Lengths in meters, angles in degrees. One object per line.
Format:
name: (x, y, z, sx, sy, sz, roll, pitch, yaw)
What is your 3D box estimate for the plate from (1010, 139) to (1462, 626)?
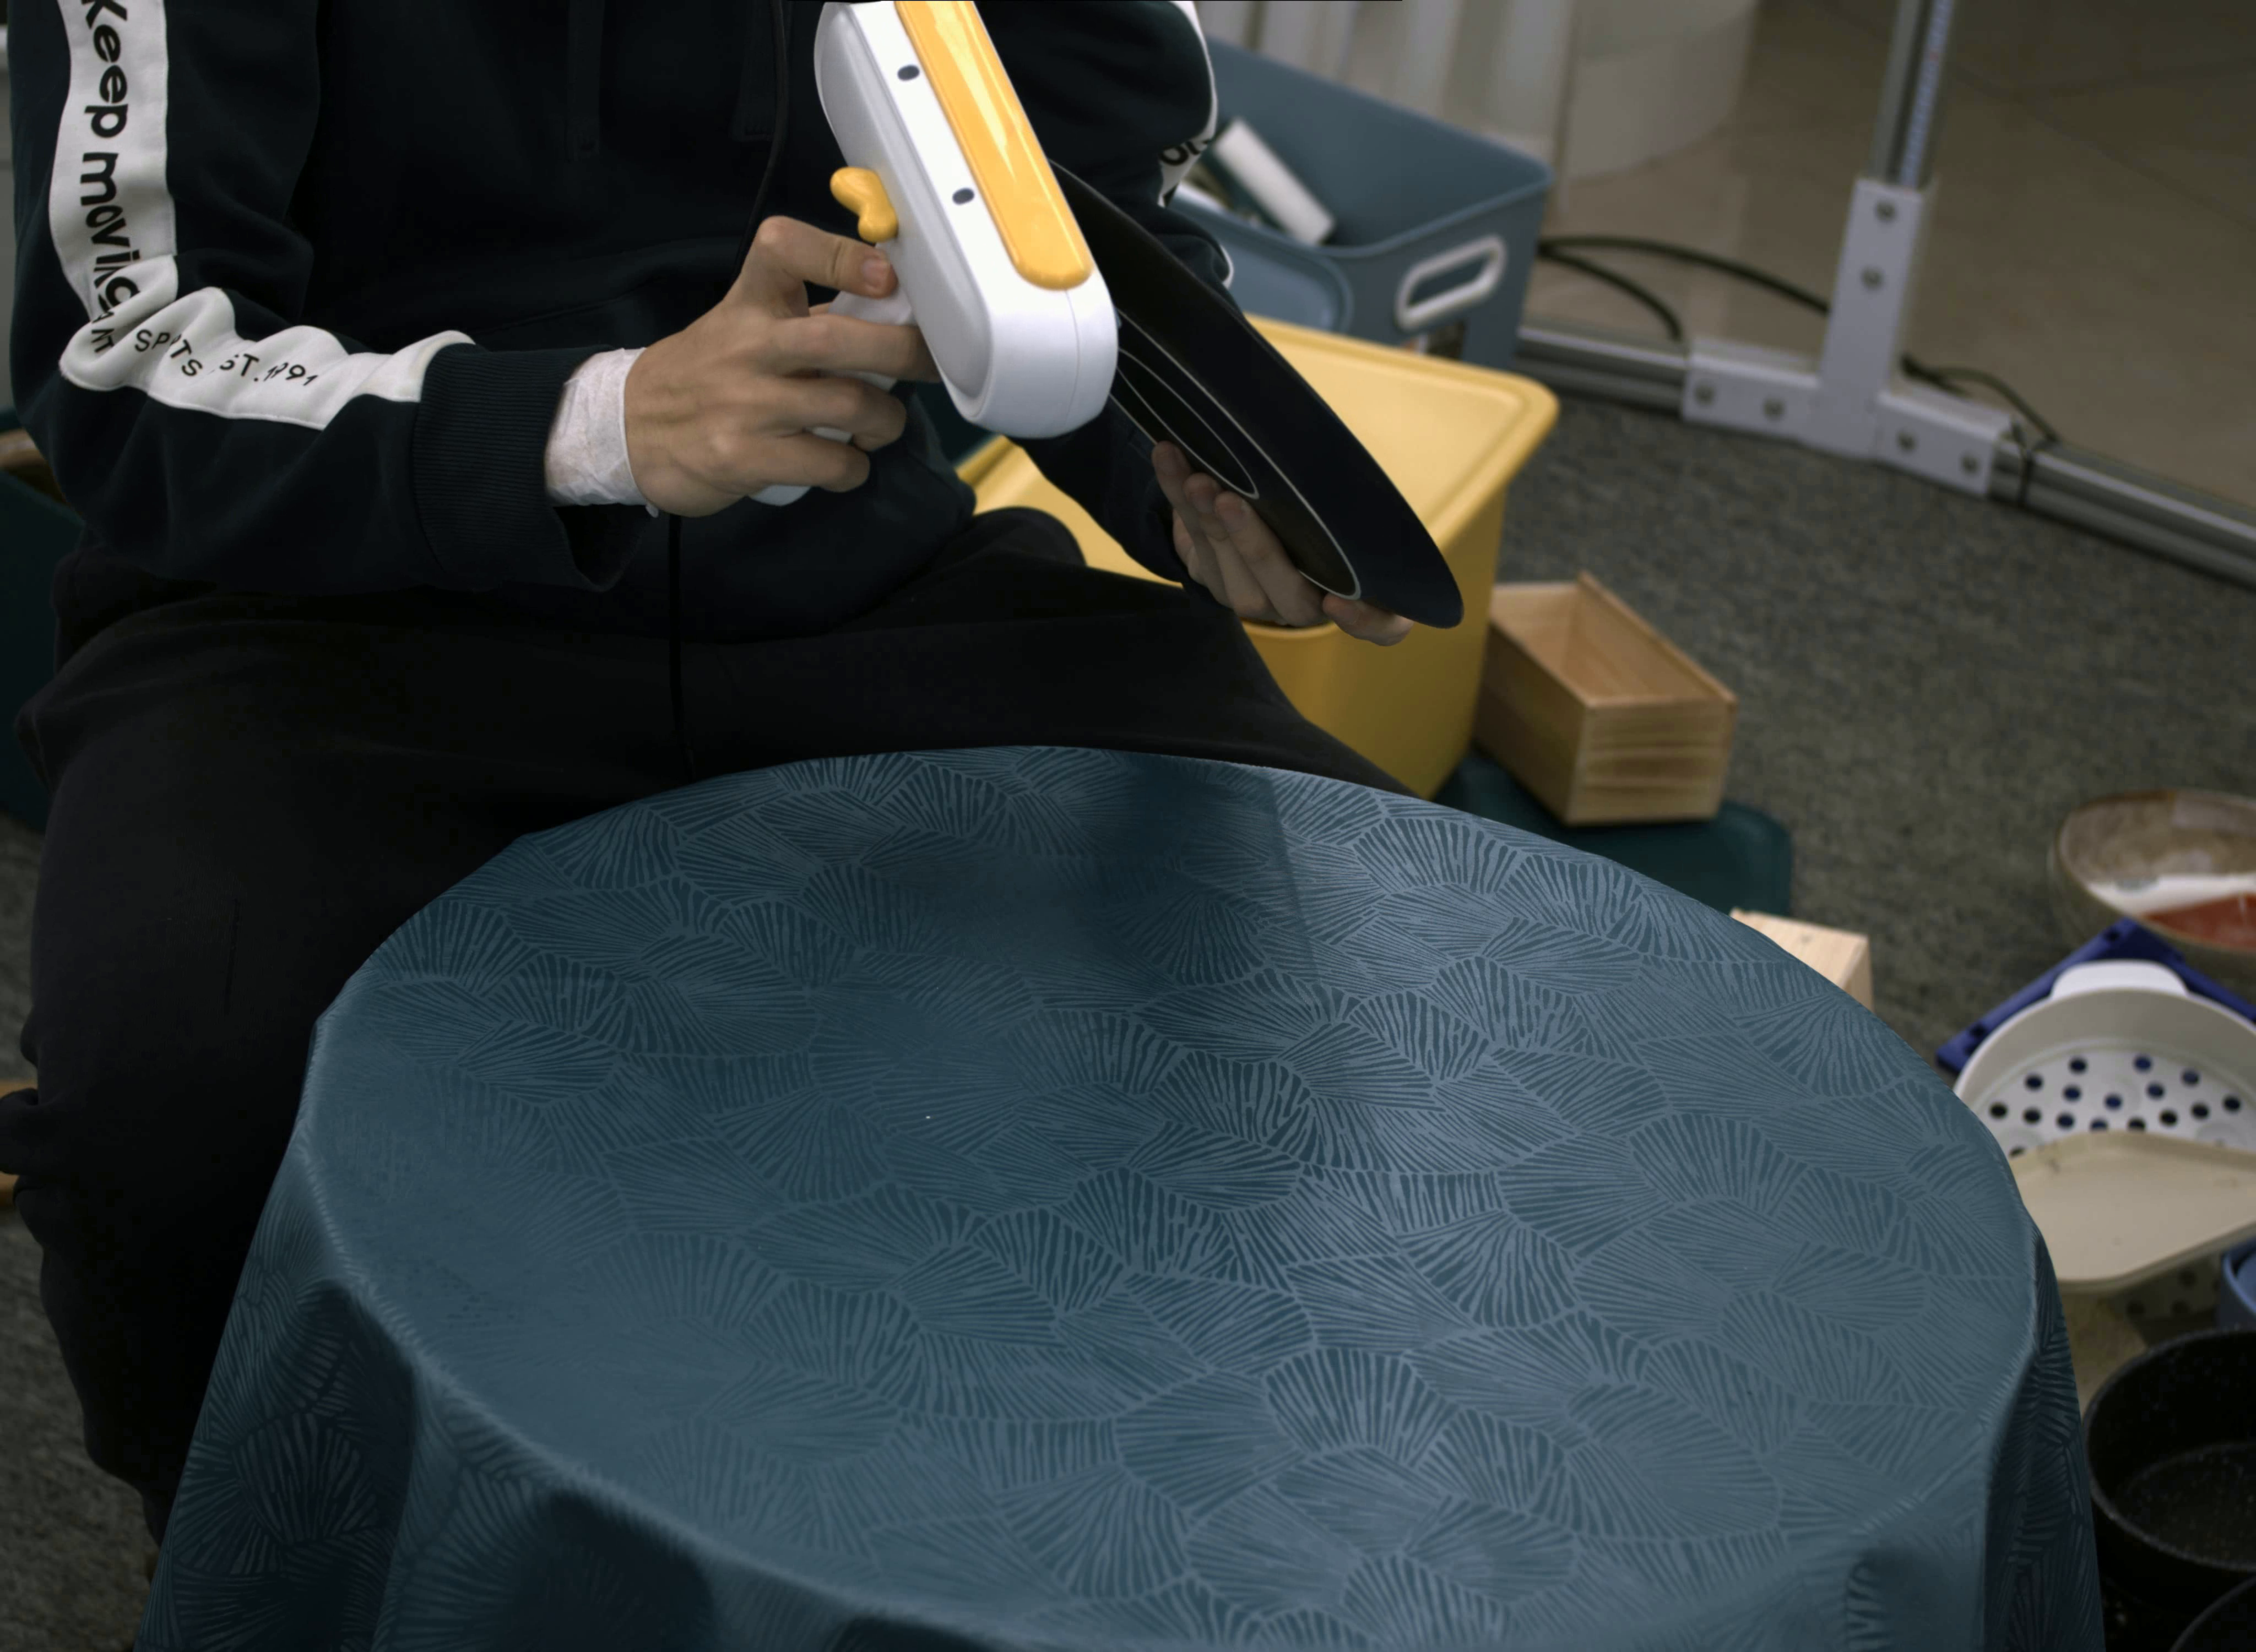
plate: (0.026, -0.153, 1.920, 0.023, 0.242, 0.246, -45, 43, -5)

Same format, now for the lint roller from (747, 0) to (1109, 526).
lint roller: (-0.083, -0.183, 1.870, 0.074, 0.192, 0.194, -10, 53, -30)
